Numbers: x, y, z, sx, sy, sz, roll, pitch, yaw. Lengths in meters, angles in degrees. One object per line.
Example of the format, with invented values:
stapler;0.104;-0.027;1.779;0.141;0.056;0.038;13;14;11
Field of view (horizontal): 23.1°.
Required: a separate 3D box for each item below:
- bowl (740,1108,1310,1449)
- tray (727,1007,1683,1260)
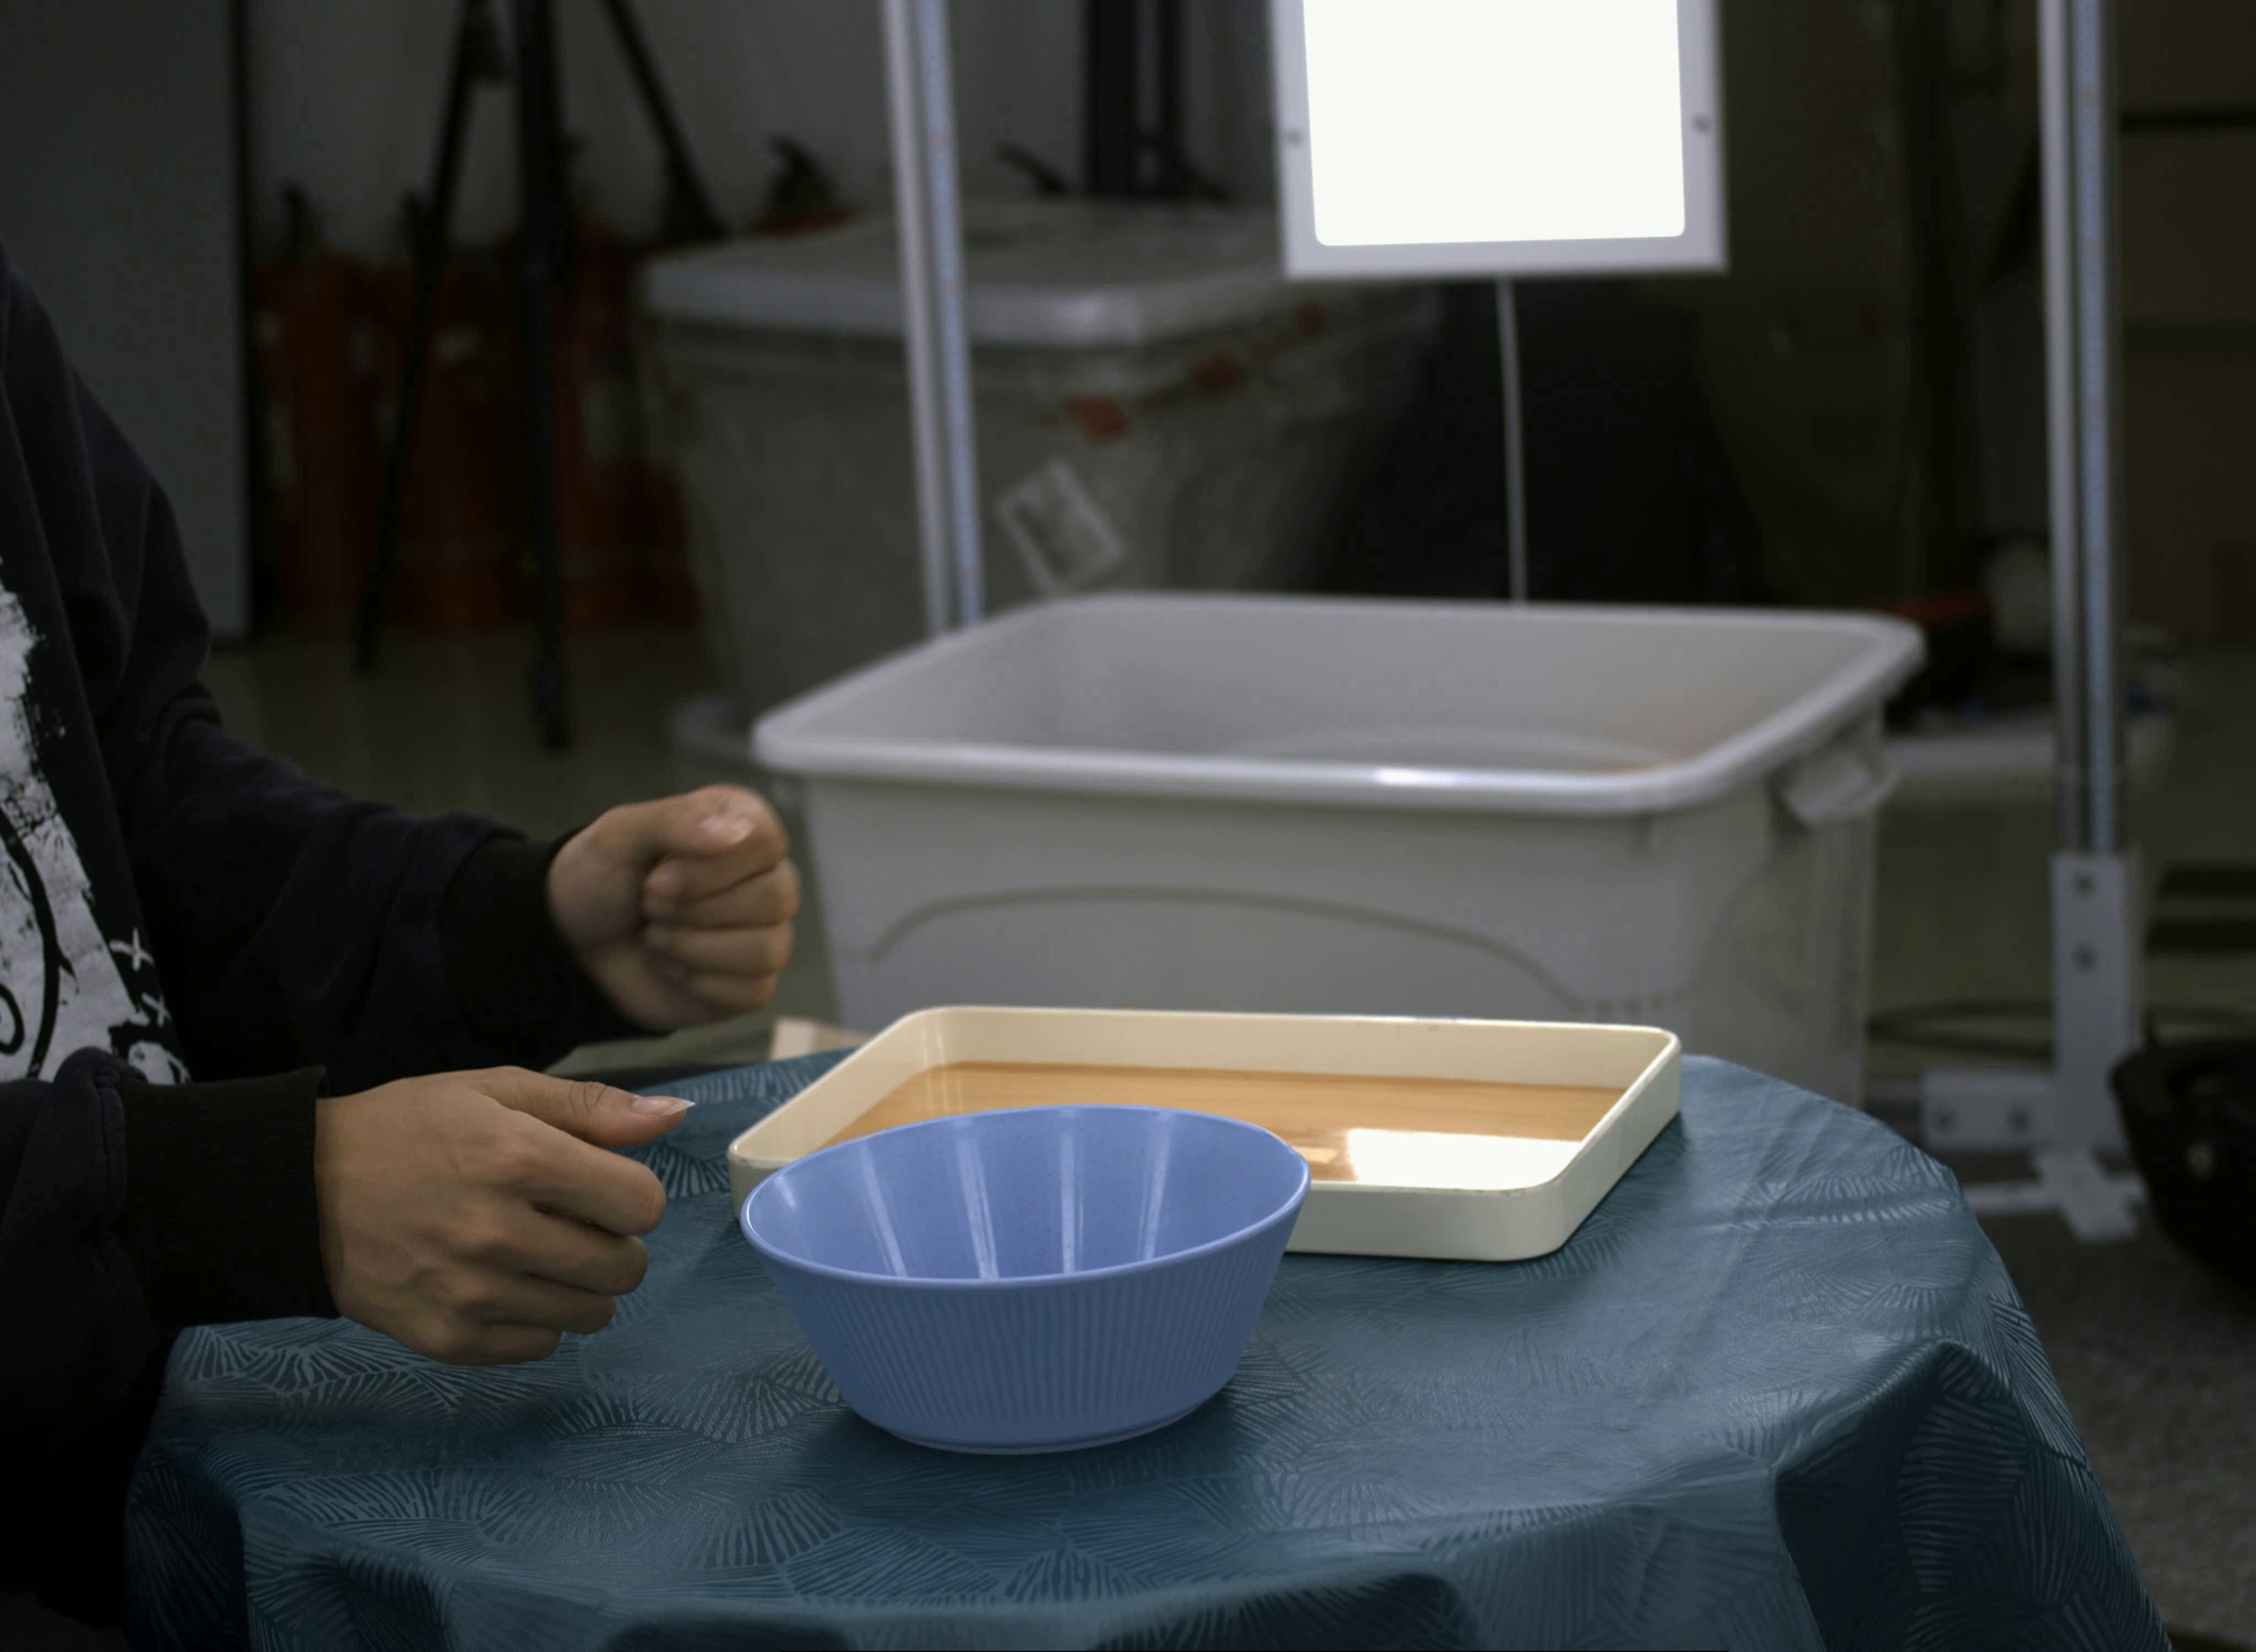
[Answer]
bowl;-0.030;0.142;1.696;0.175;0.070;0.176;-4;14;0
tray;0.029;0.105;1.919;0.305;0.027;0.188;1;15;23
